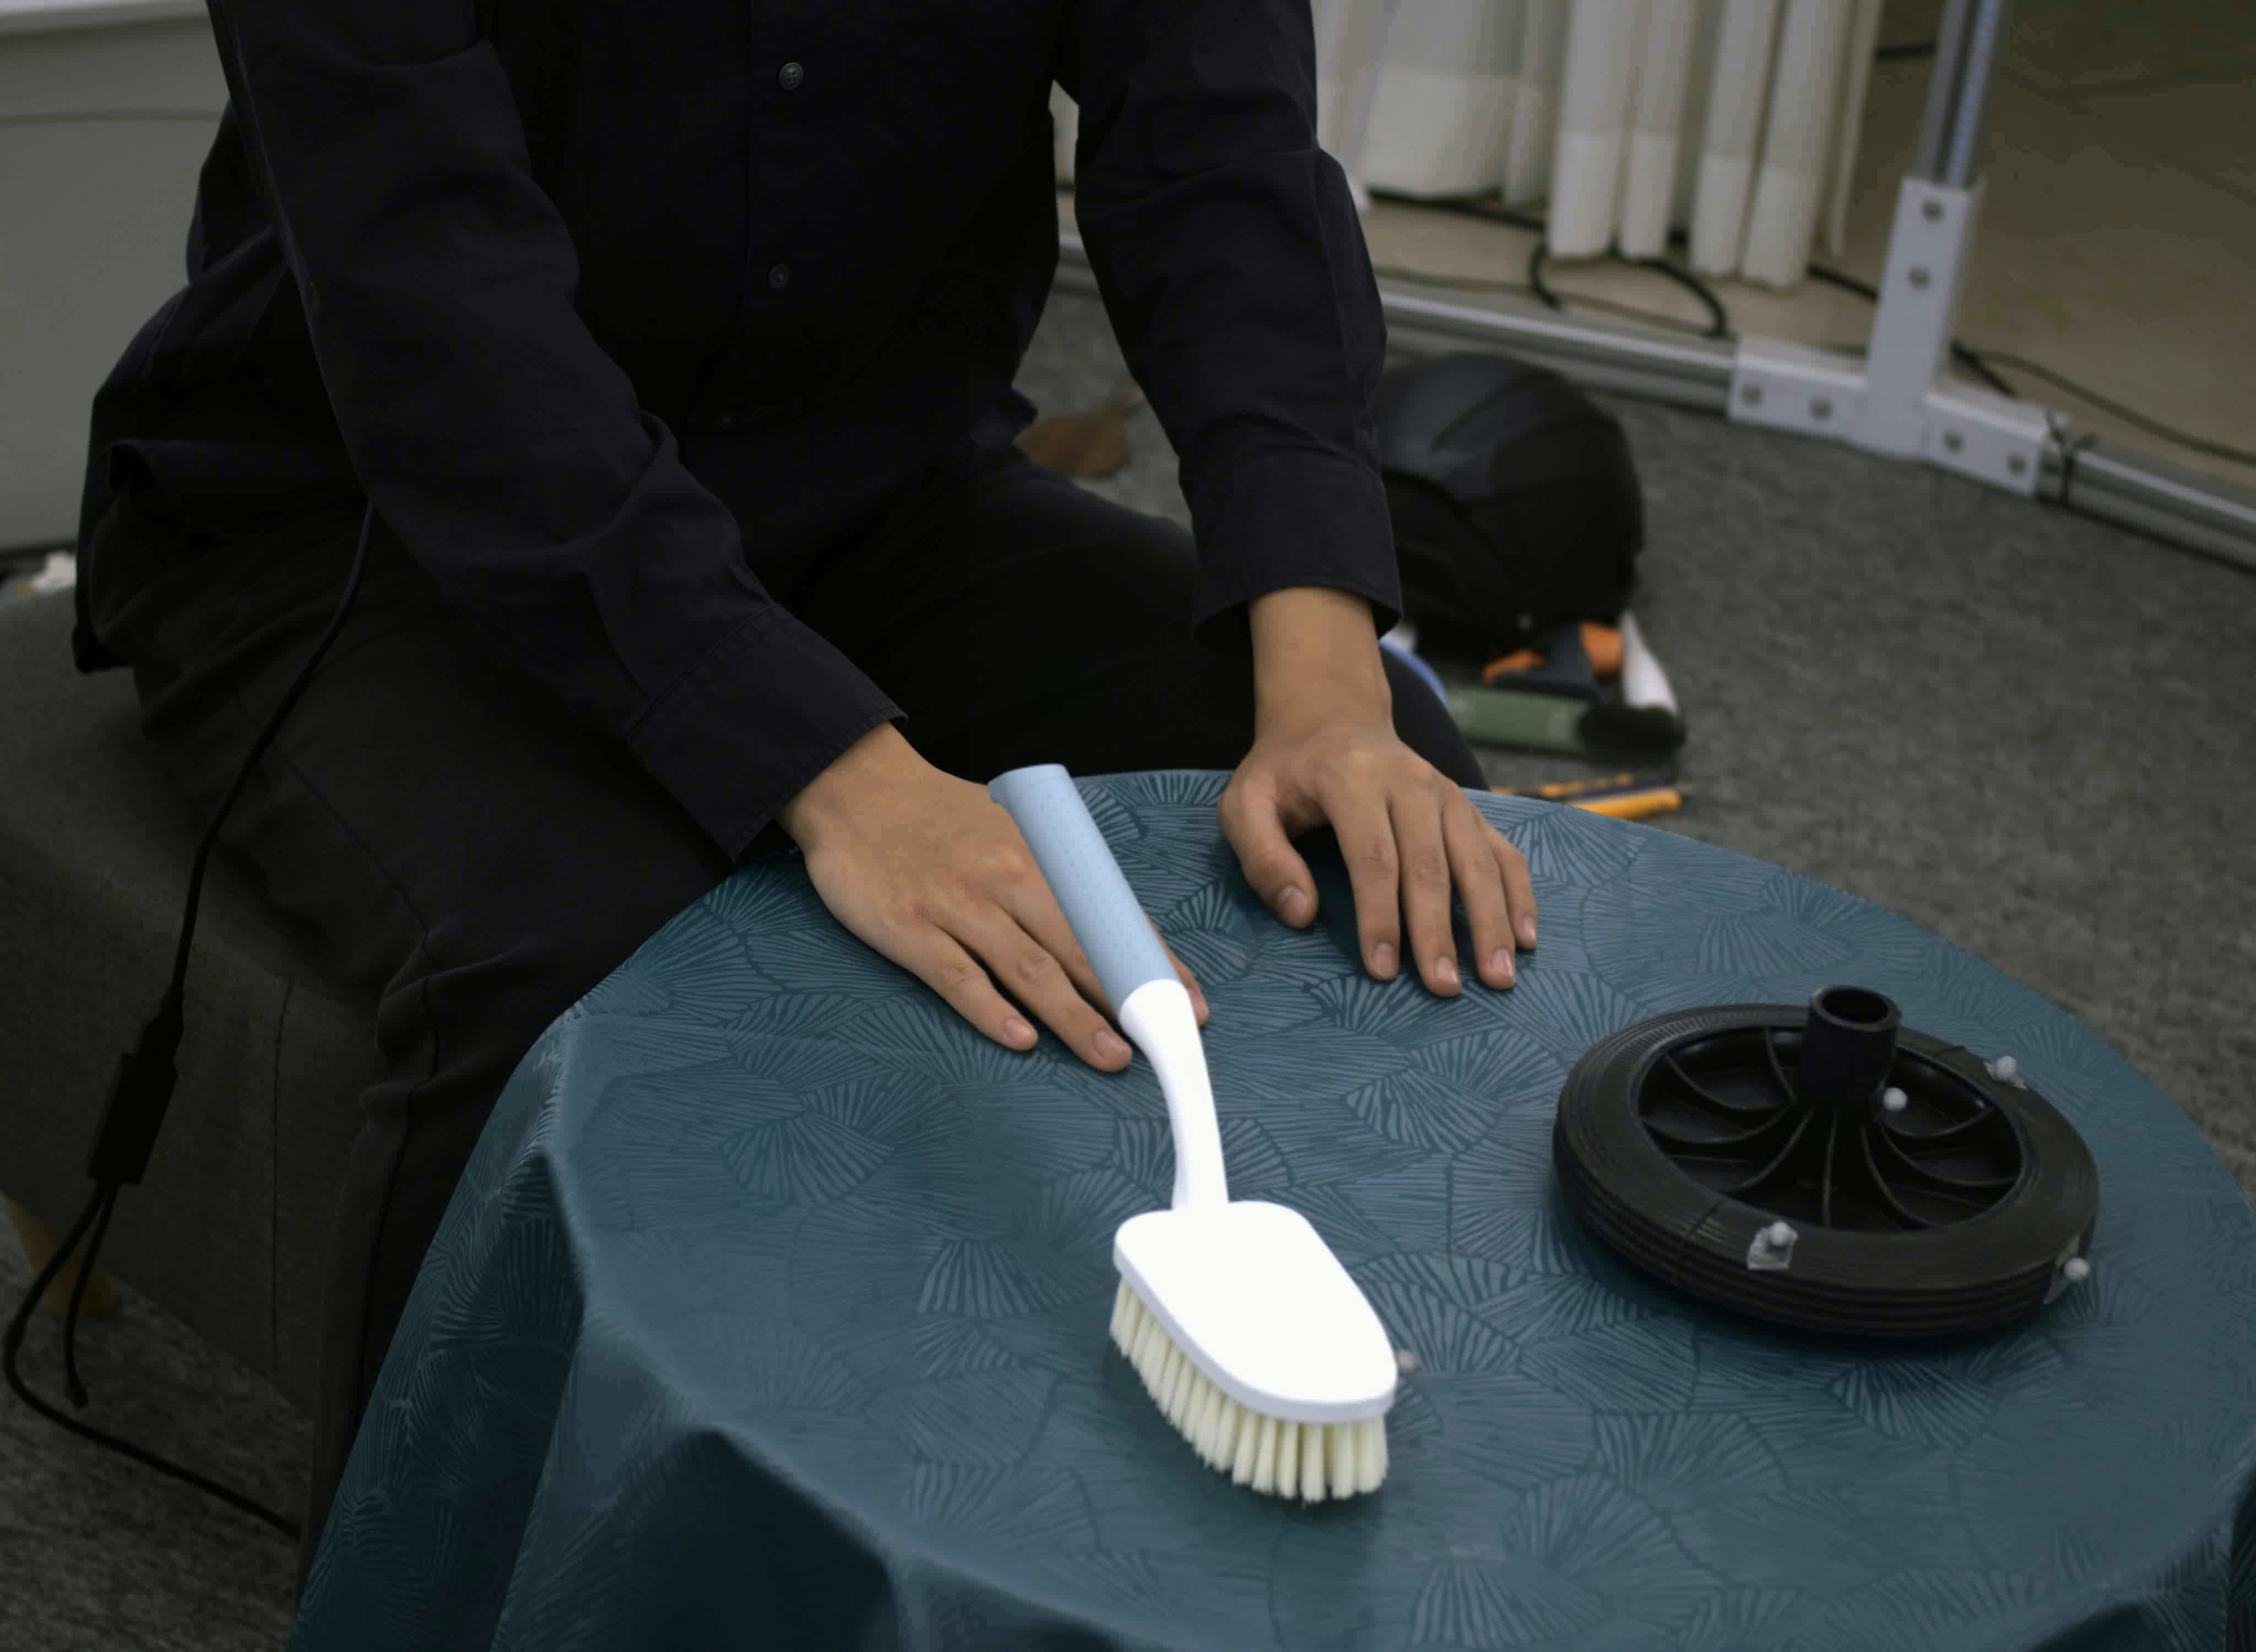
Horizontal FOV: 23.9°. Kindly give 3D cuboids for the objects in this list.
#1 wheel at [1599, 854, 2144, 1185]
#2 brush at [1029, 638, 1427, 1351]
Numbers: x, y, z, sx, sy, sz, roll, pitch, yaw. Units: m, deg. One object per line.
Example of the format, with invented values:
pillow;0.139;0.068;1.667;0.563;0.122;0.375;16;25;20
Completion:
wheel;0.261;0.052;1.854;0.189;0.079;0.188;6;27;4
brush;0.026;0.064;1.779;0.082;0.084;0.328;33;20;-41
